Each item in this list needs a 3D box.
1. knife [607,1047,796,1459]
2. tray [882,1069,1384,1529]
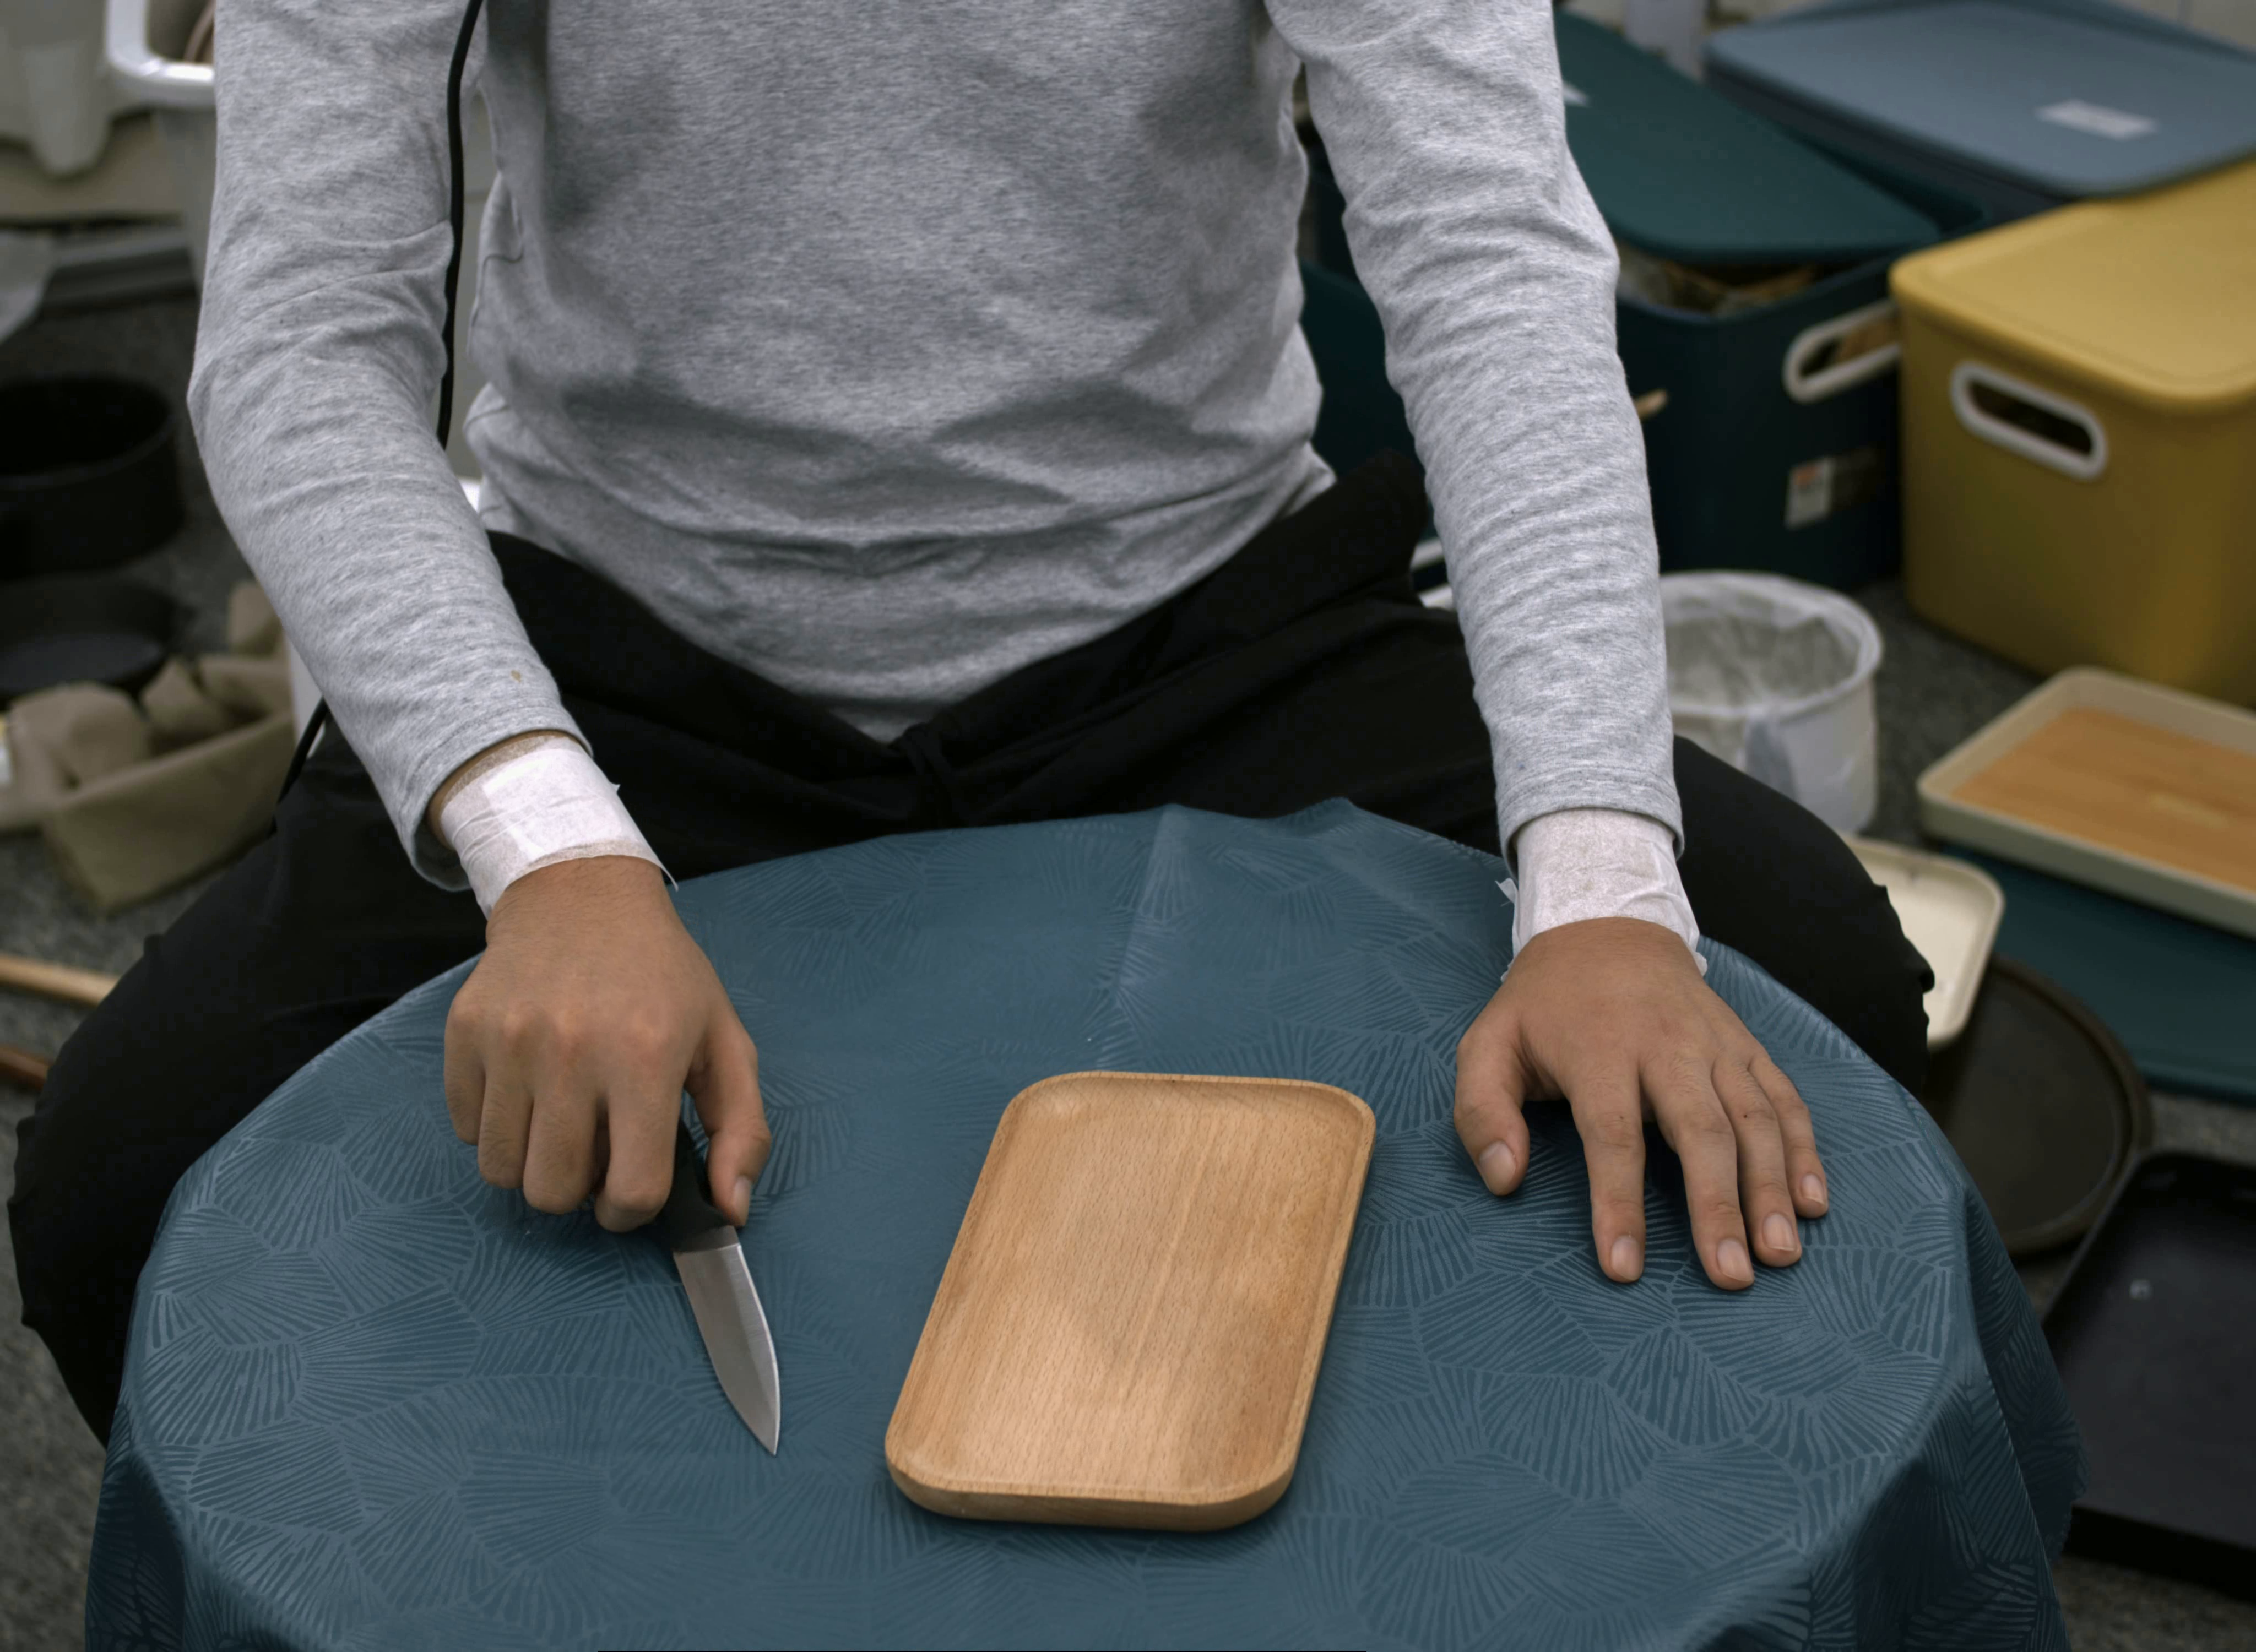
[{"bbox_3d":[-0.140,0.139,1.829,0.024,0.016,0.241,-10,31,-13],"label":"knife"},{"bbox_3d":[0.005,0.148,1.792,0.130,0.022,0.255,5,27,9],"label":"tray"}]
